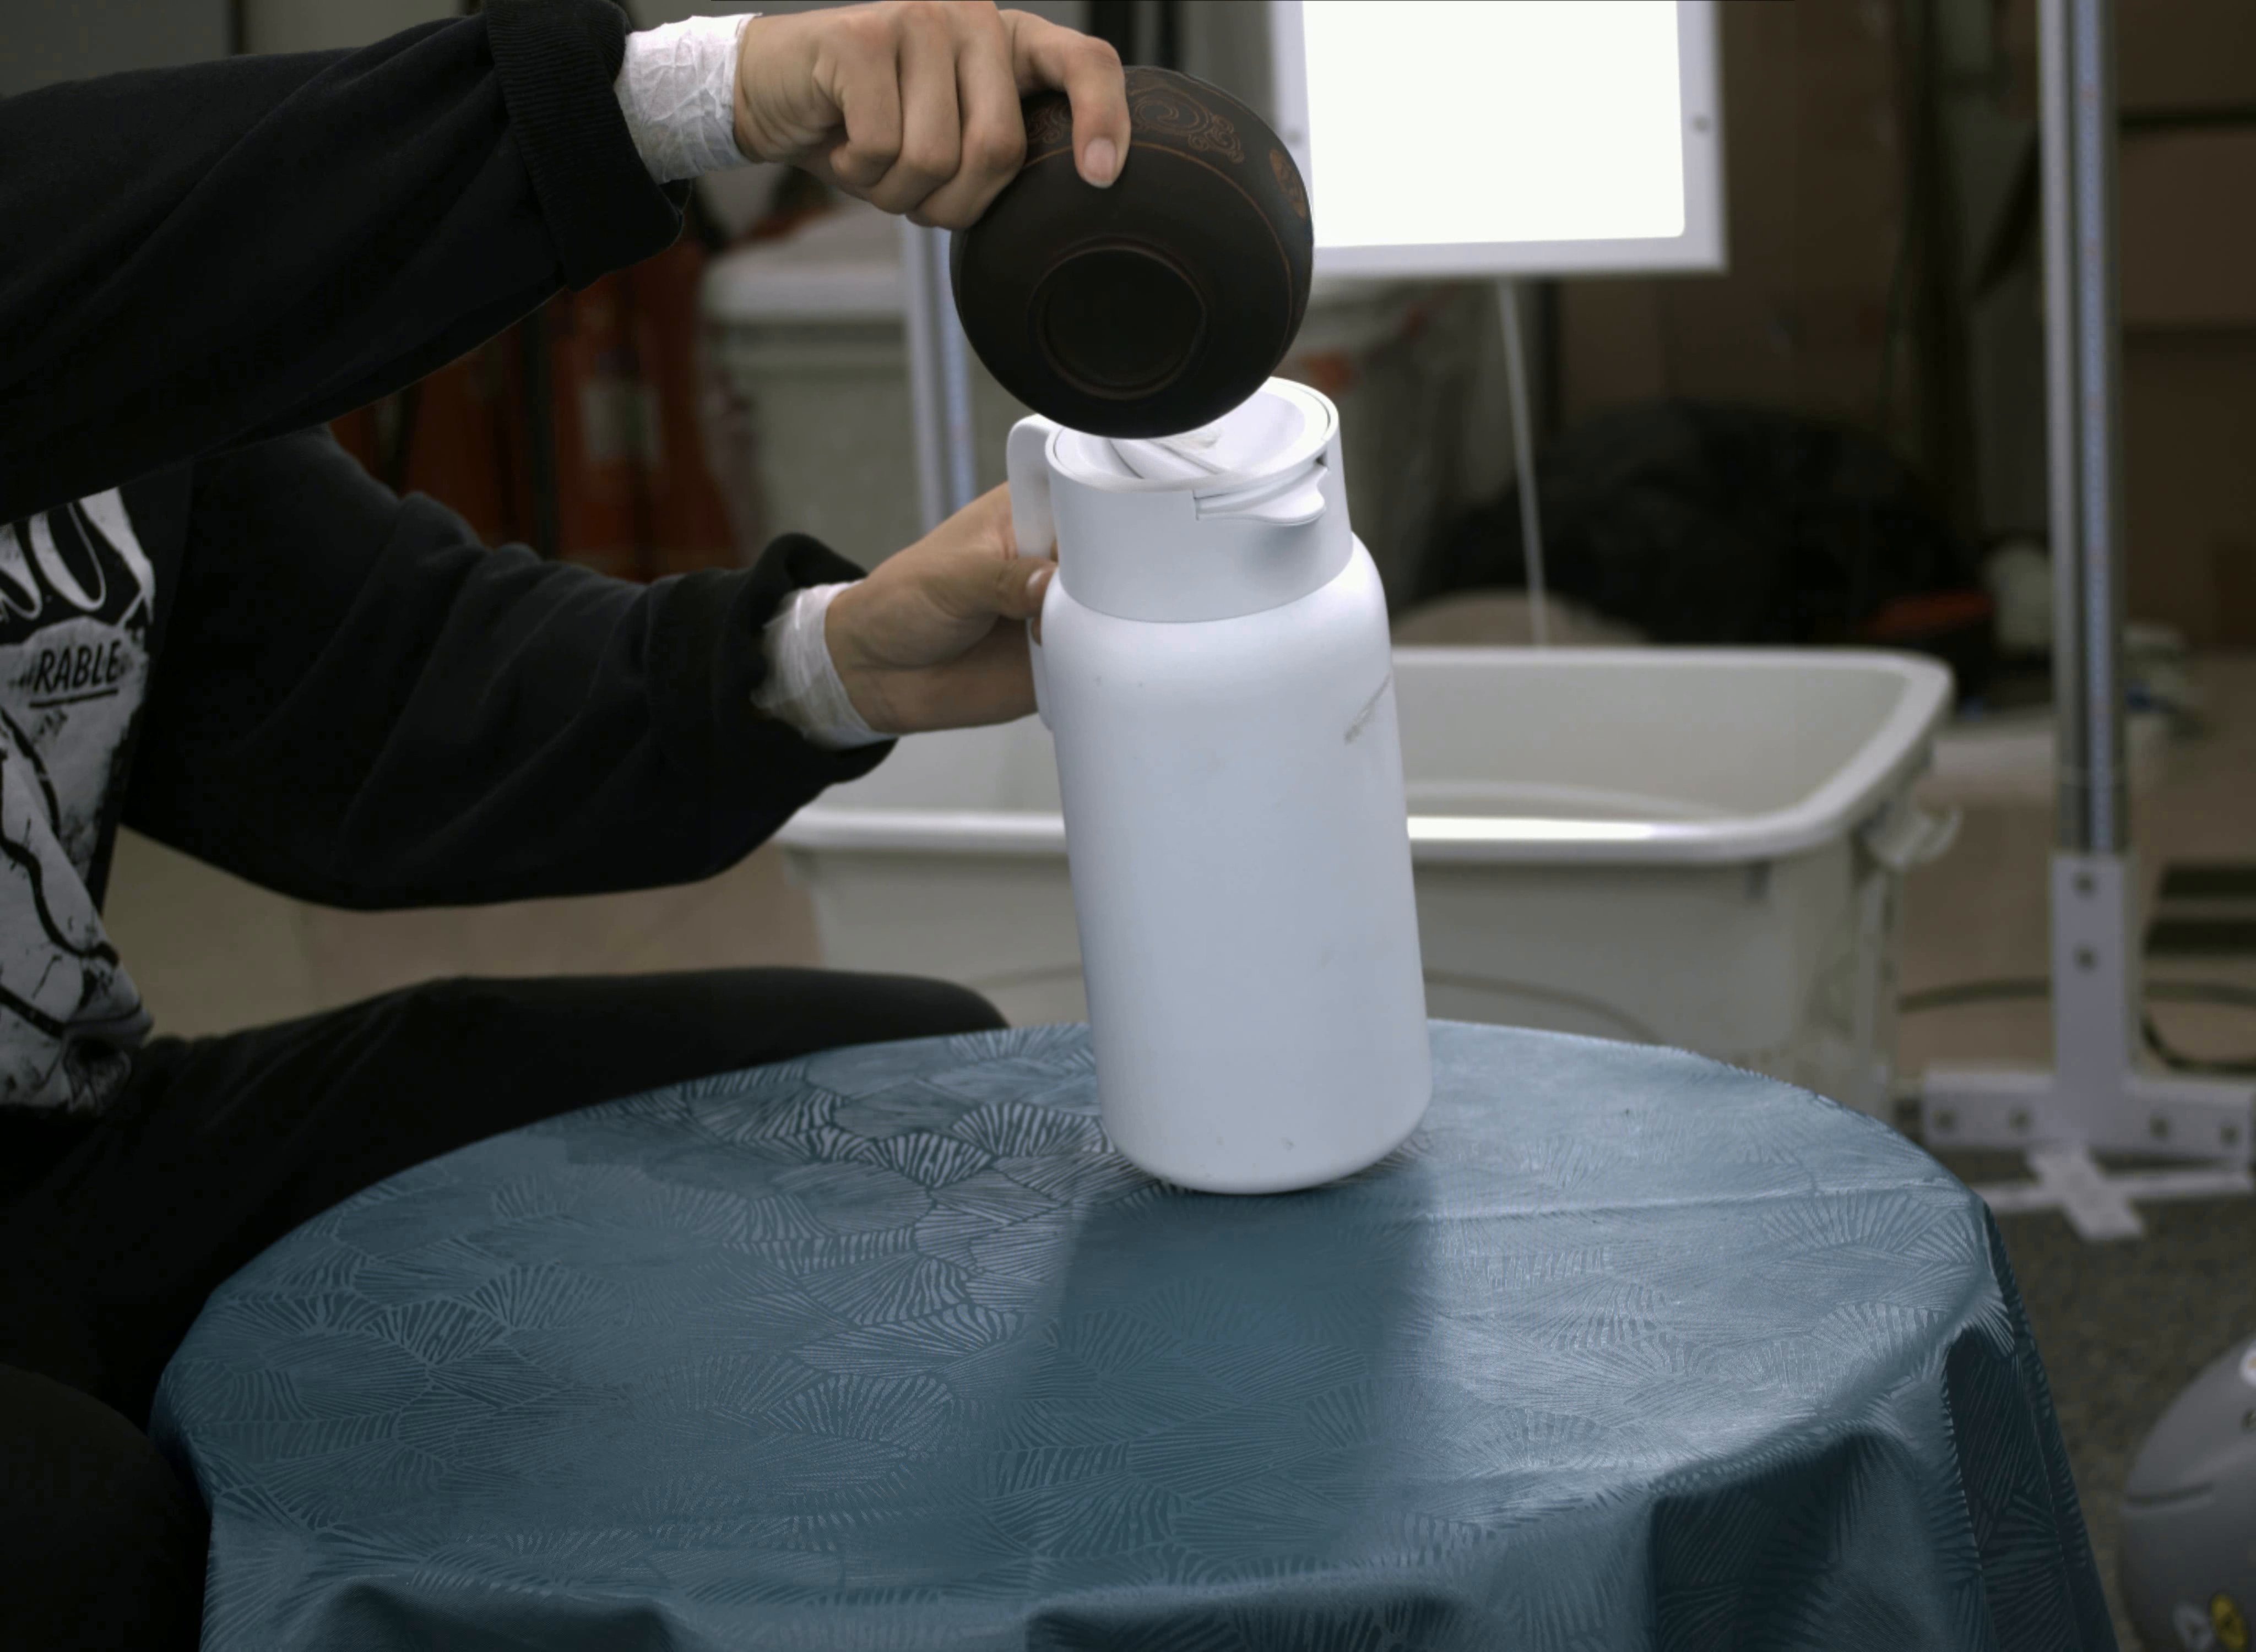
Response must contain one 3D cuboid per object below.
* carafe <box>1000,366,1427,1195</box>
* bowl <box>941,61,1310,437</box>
[{"bbox_3d":[0.023,-0.019,1.883,0.121,0.269,0.176,-24,31,-26],"label":"carafe"},{"bbox_3d":[-0.002,-0.174,1.730,0.118,0.118,0.069,-2,35,9],"label":"bowl"}]
